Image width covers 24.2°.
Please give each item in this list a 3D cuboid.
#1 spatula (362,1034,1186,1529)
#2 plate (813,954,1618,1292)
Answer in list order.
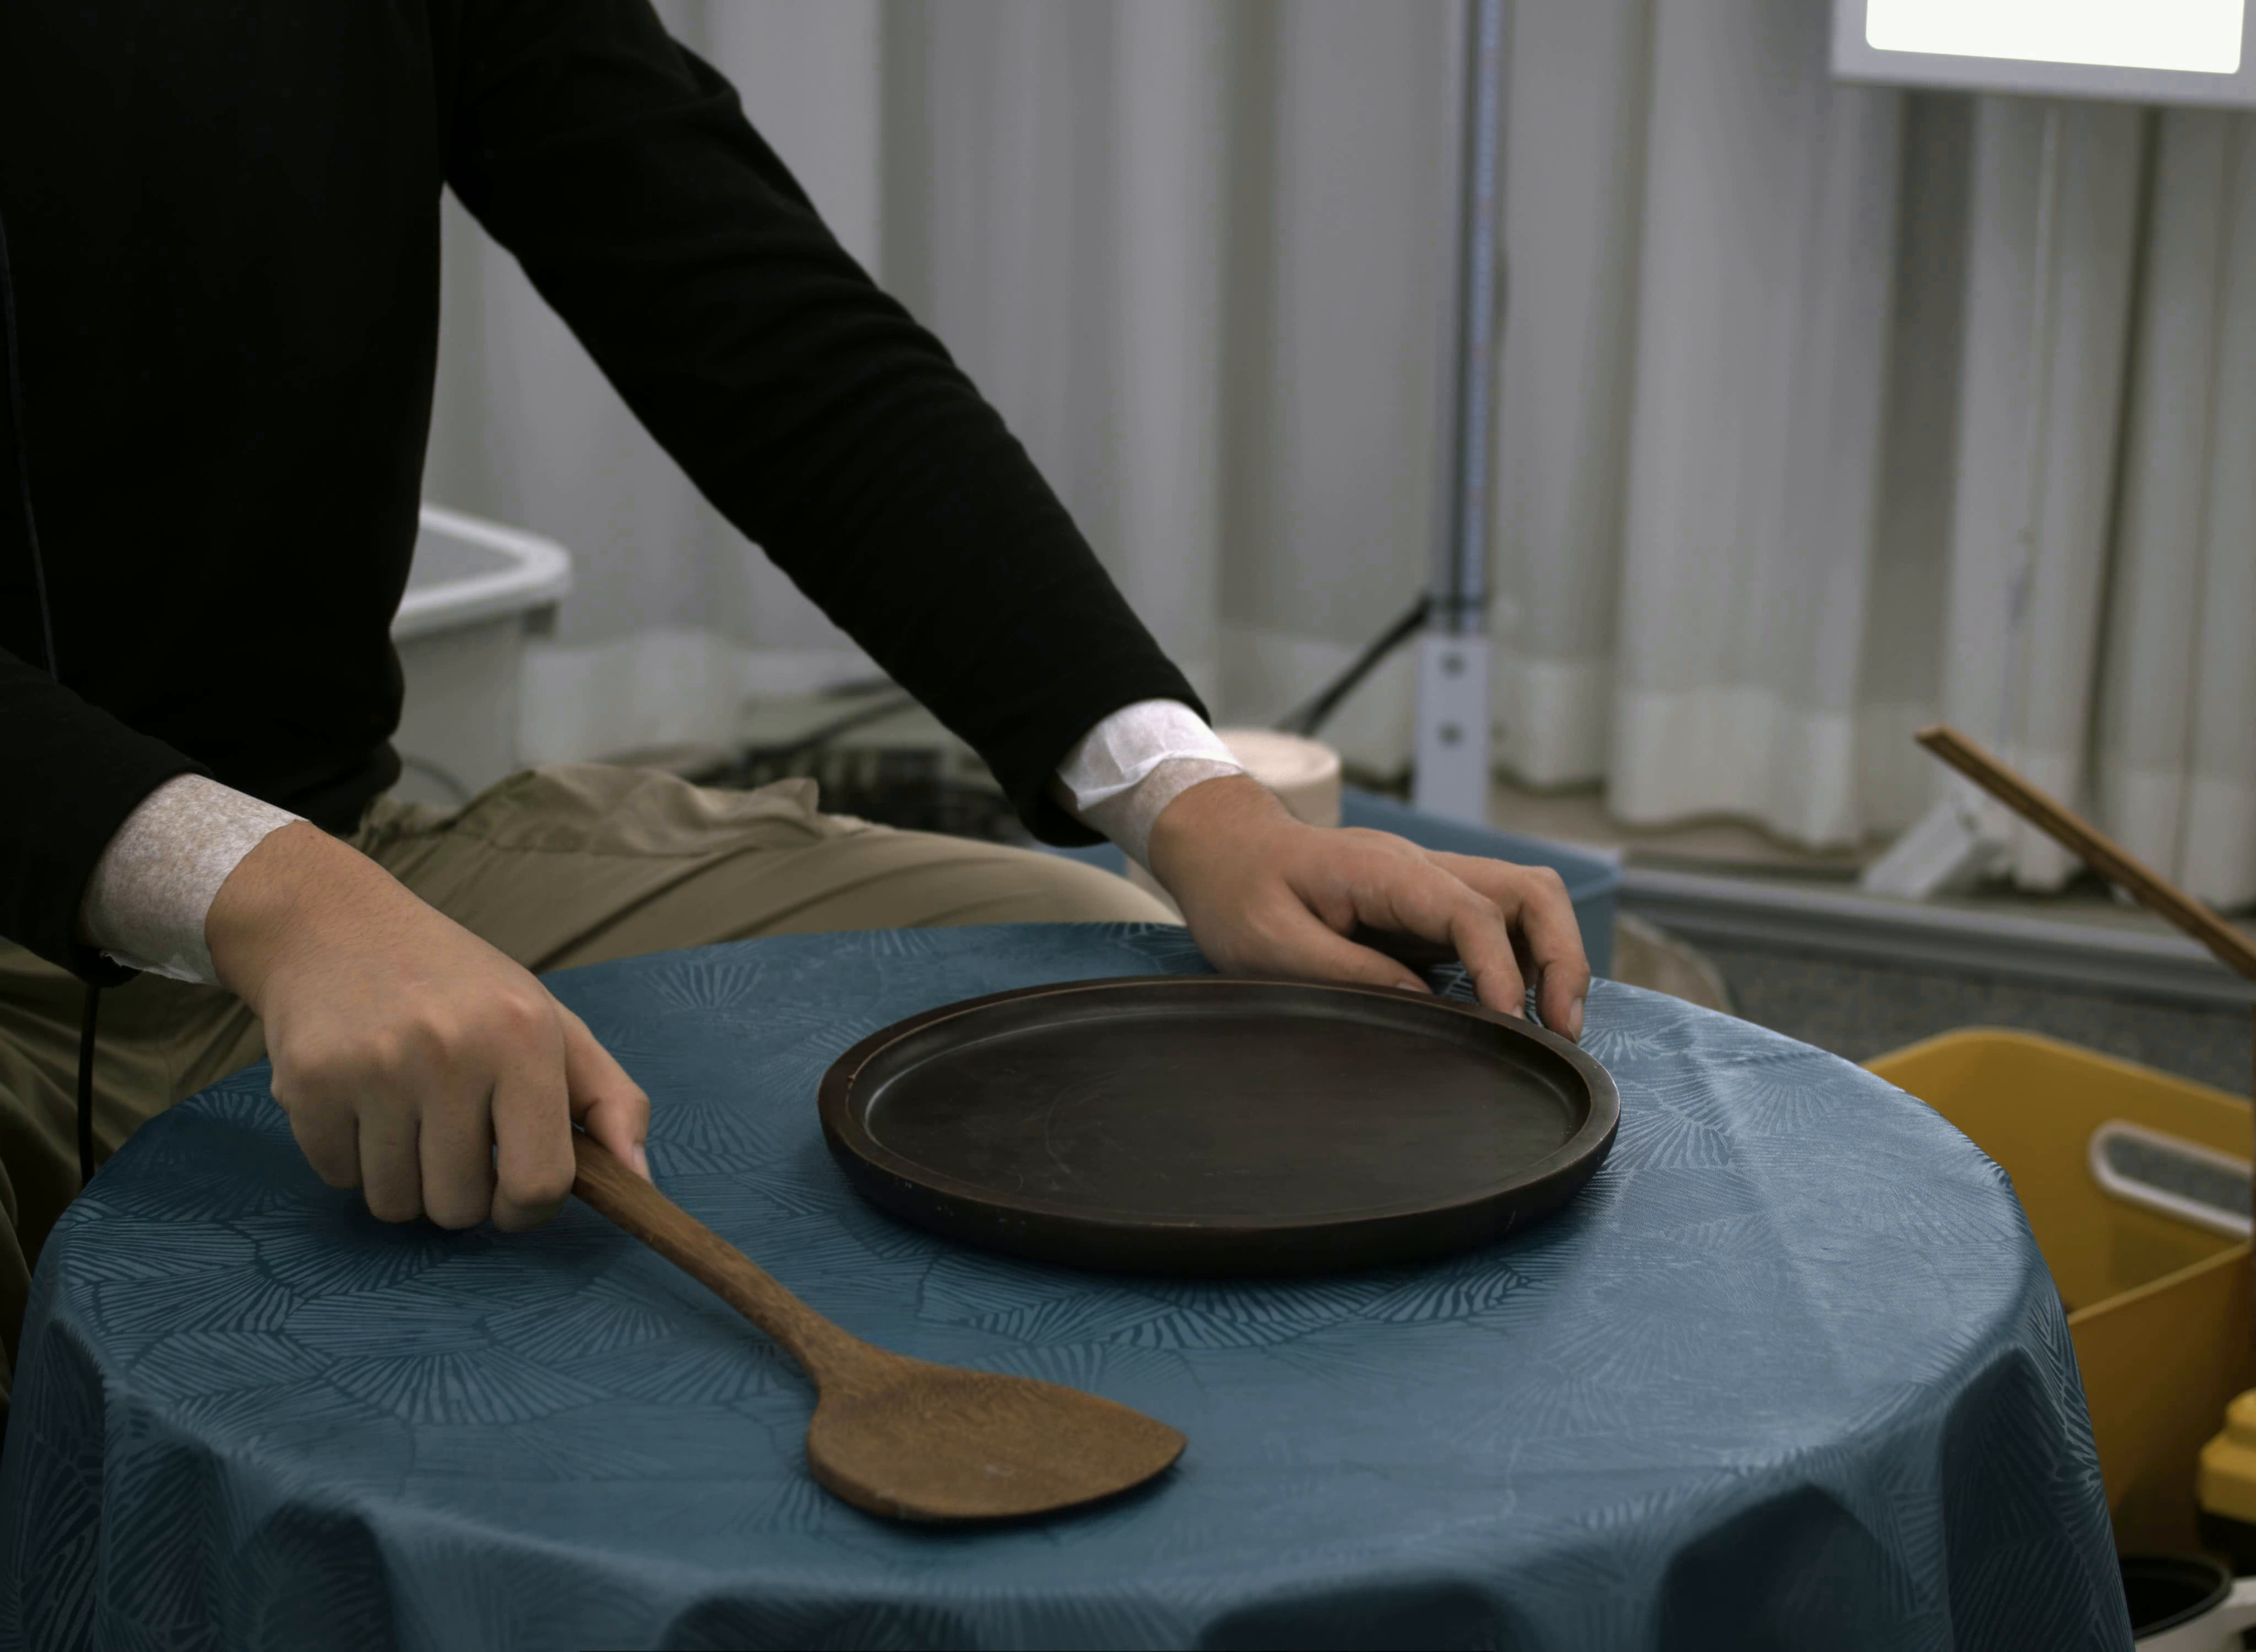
[{"bbox_3d":[-0.124,0.123,1.514,0.096,0.016,0.380,-10,24,-35],"label":"spatula"},{"bbox_3d":[0.027,0.093,1.651,0.254,0.029,0.253,0,17,0],"label":"plate"}]
